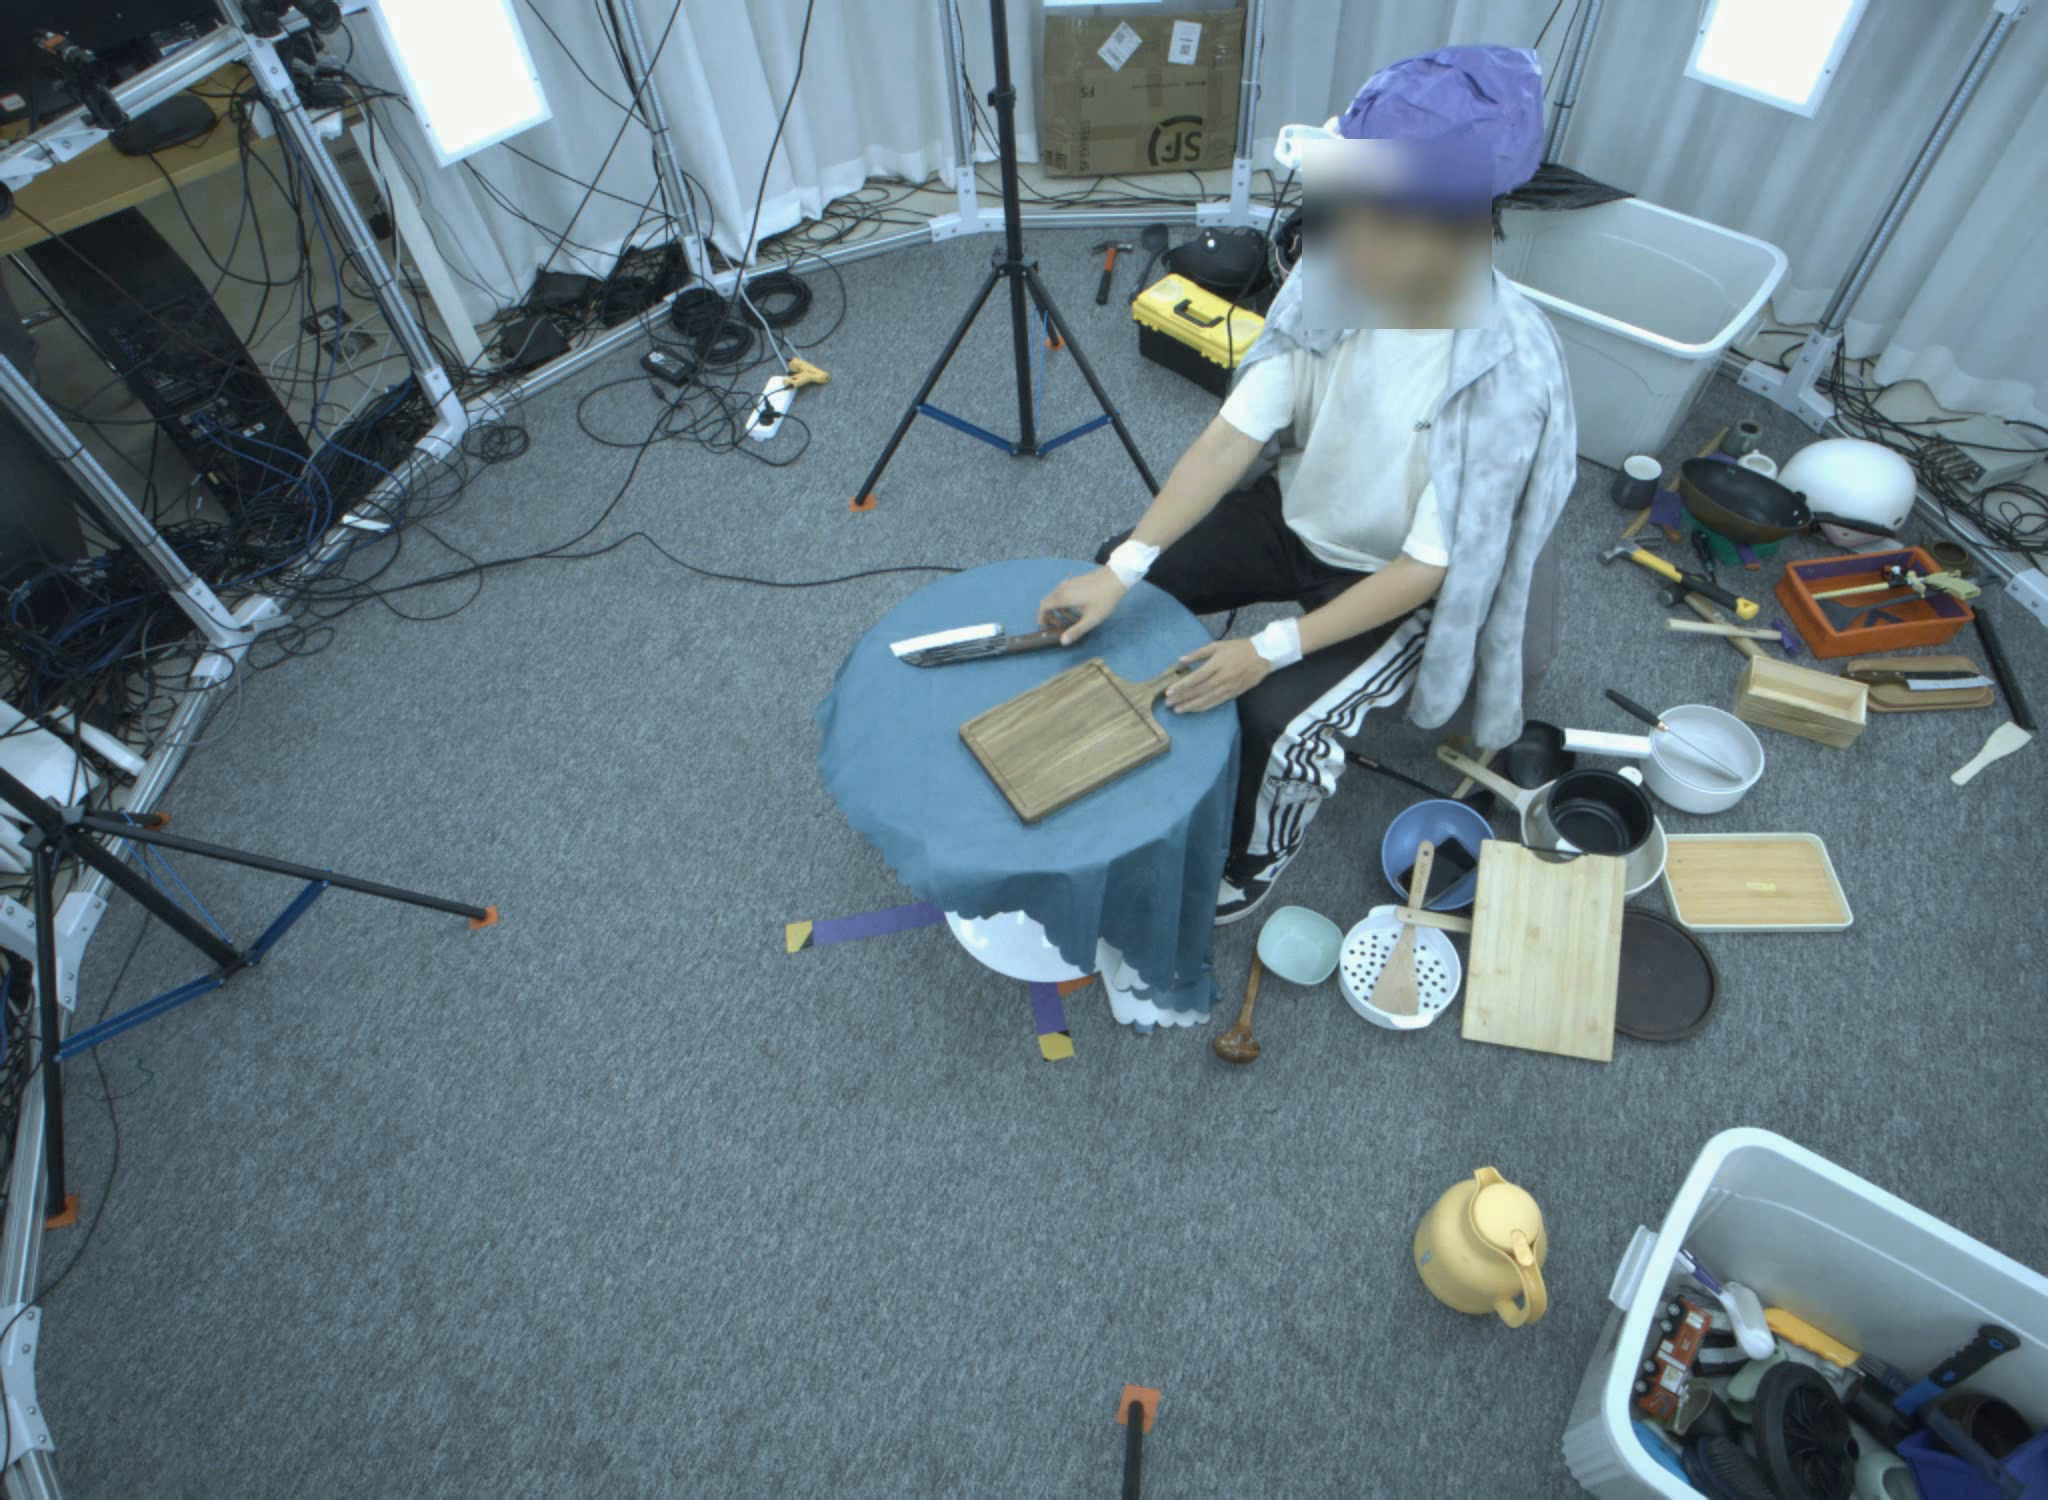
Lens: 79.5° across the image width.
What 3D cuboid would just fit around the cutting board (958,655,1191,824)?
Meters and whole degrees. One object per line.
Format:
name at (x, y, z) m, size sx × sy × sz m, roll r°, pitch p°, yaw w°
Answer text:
cutting board at (0.100, -0.042, 1.803) m, size 0.355 × 0.023 × 0.197 m, roll -28°, pitch 59°, yaw -17°

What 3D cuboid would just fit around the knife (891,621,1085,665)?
knife at (-0.058, -0.171, 1.901) m, size 0.300 × 0.024 × 0.067 m, roll -9°, pitch 52°, yaw -1°
